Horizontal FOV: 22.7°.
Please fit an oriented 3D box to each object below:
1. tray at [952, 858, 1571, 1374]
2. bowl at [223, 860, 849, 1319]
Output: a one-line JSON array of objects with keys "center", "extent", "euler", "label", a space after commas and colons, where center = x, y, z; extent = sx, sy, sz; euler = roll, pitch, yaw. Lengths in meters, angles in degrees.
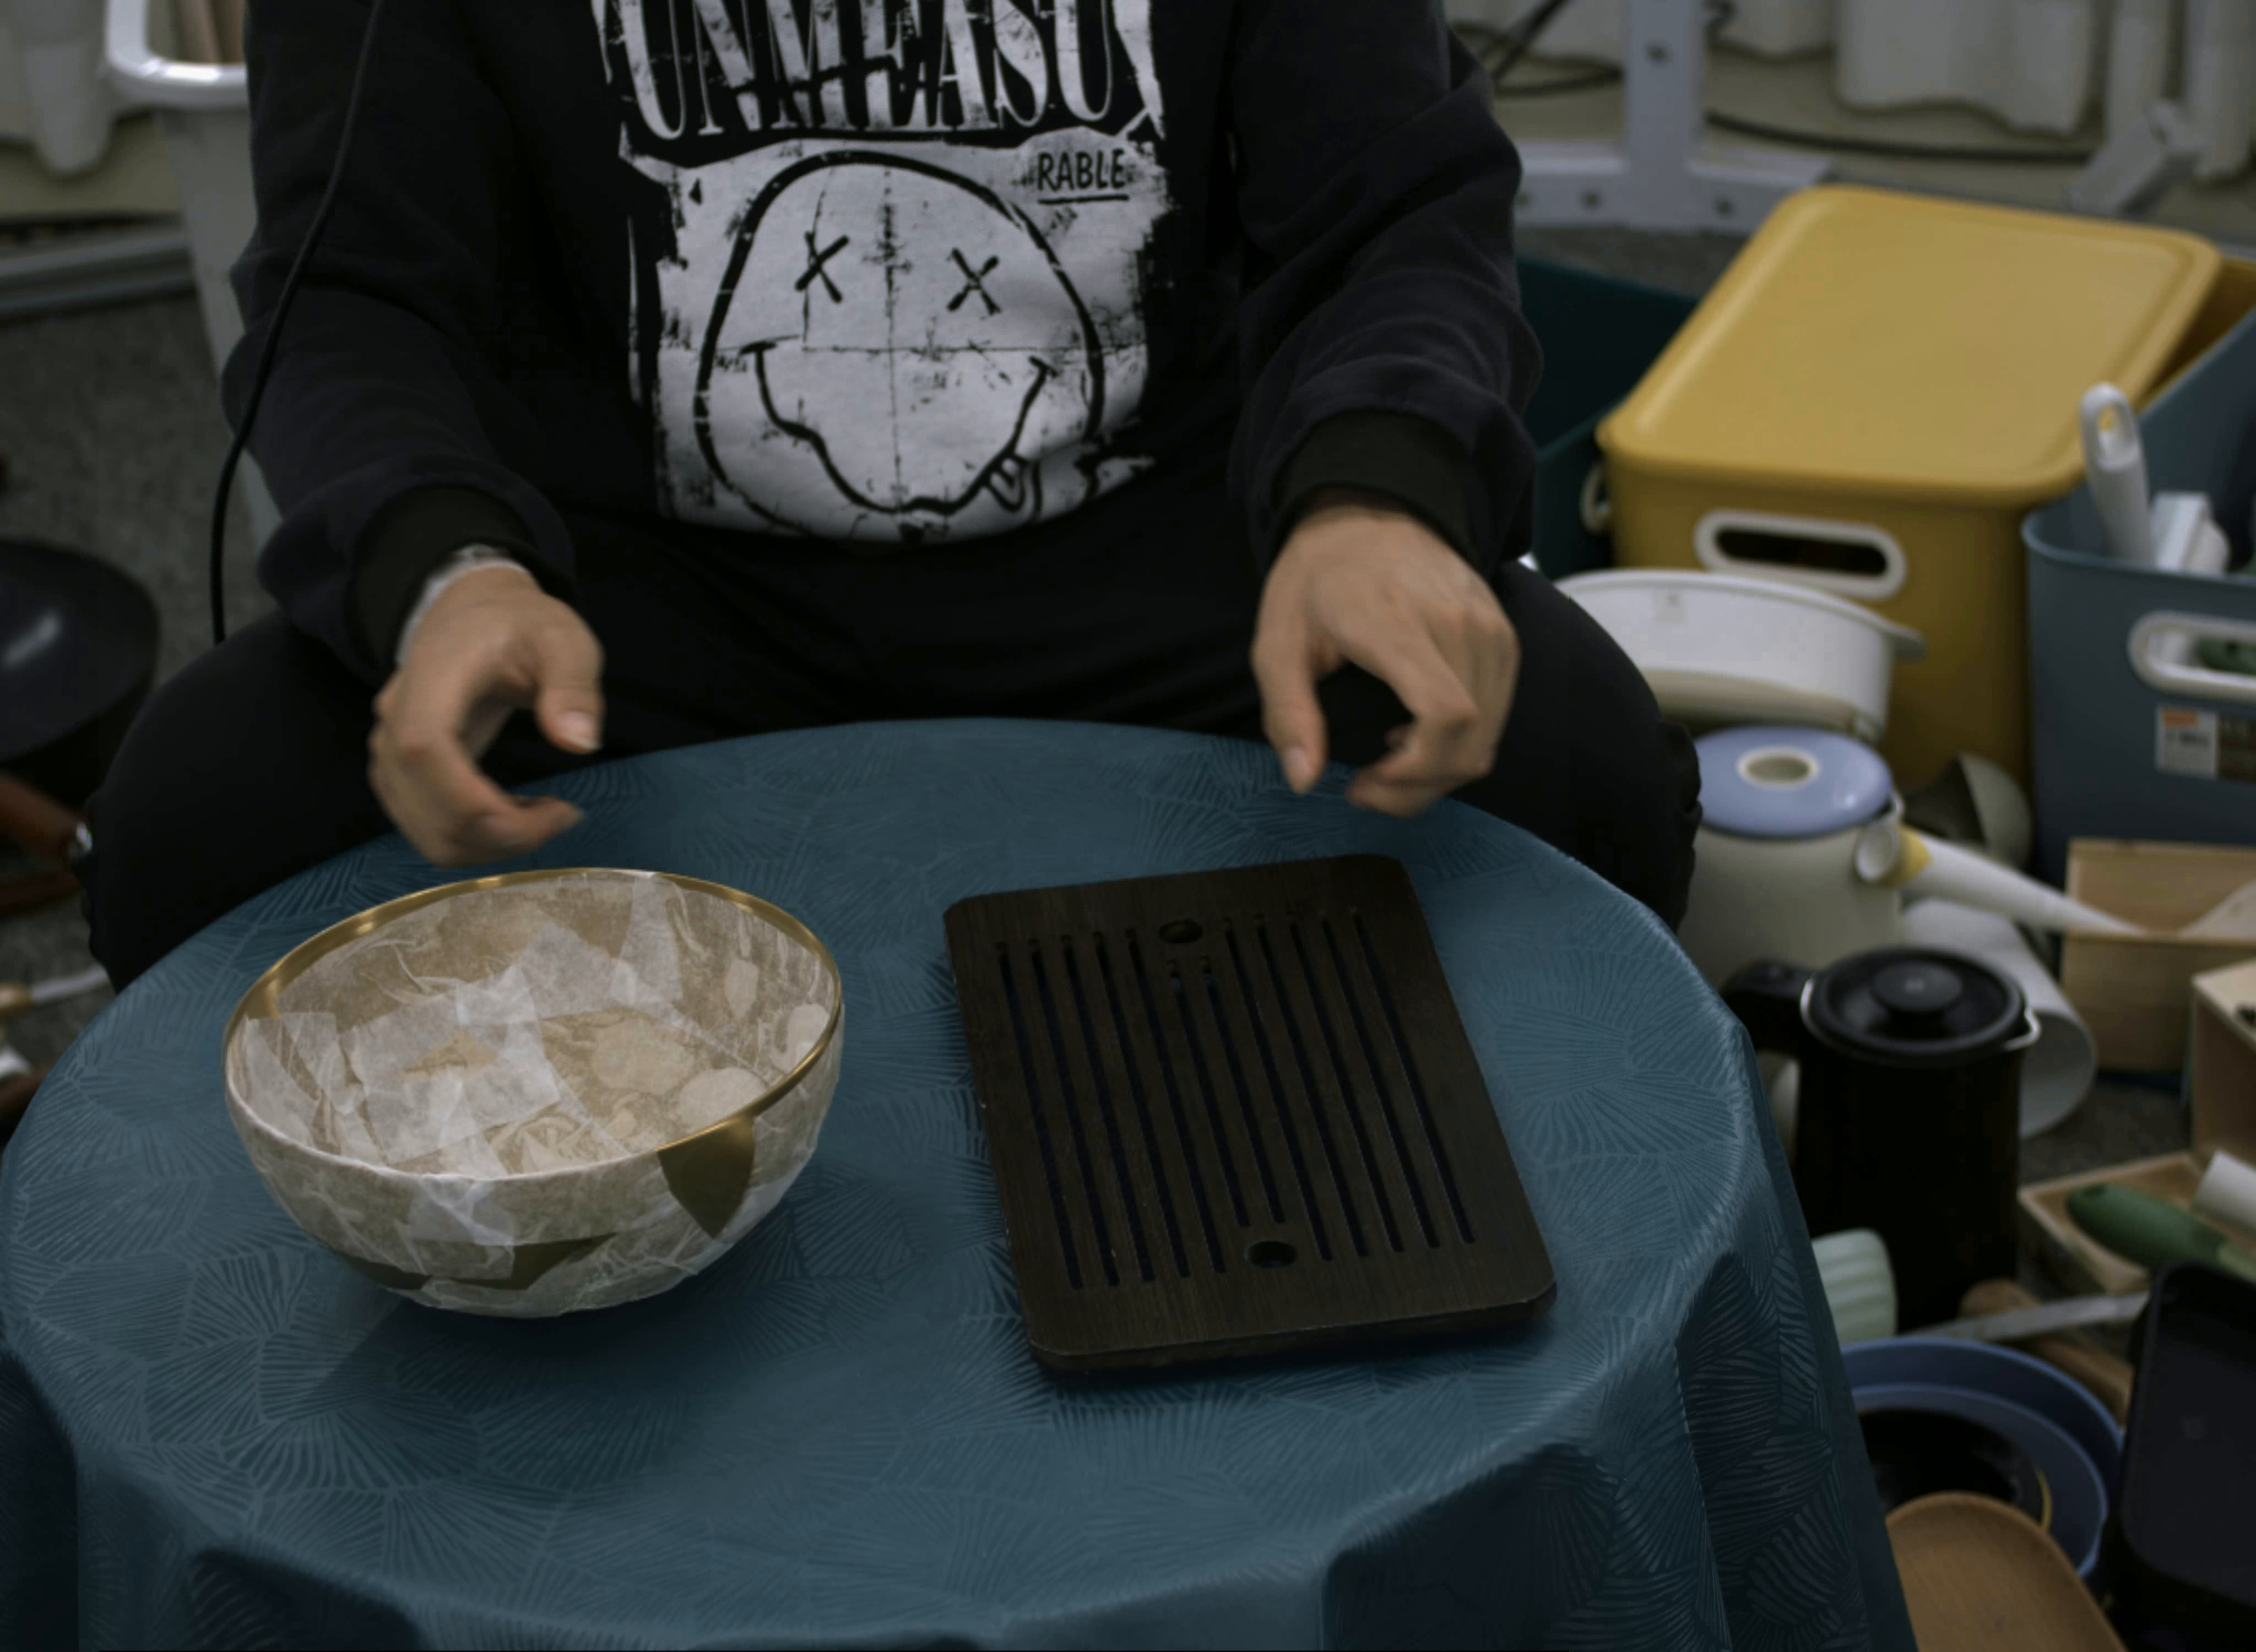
[{"center": [0.038, 0.095, 1.891], "extent": [0.169, 0.018, 0.310], "euler": [-6, 27, -5], "label": "tray"}, {"center": [-0.185, 0.098, 1.826], "extent": [0.213, 0.093, 0.218], "euler": [-3, 27, 2], "label": "bowl"}]
